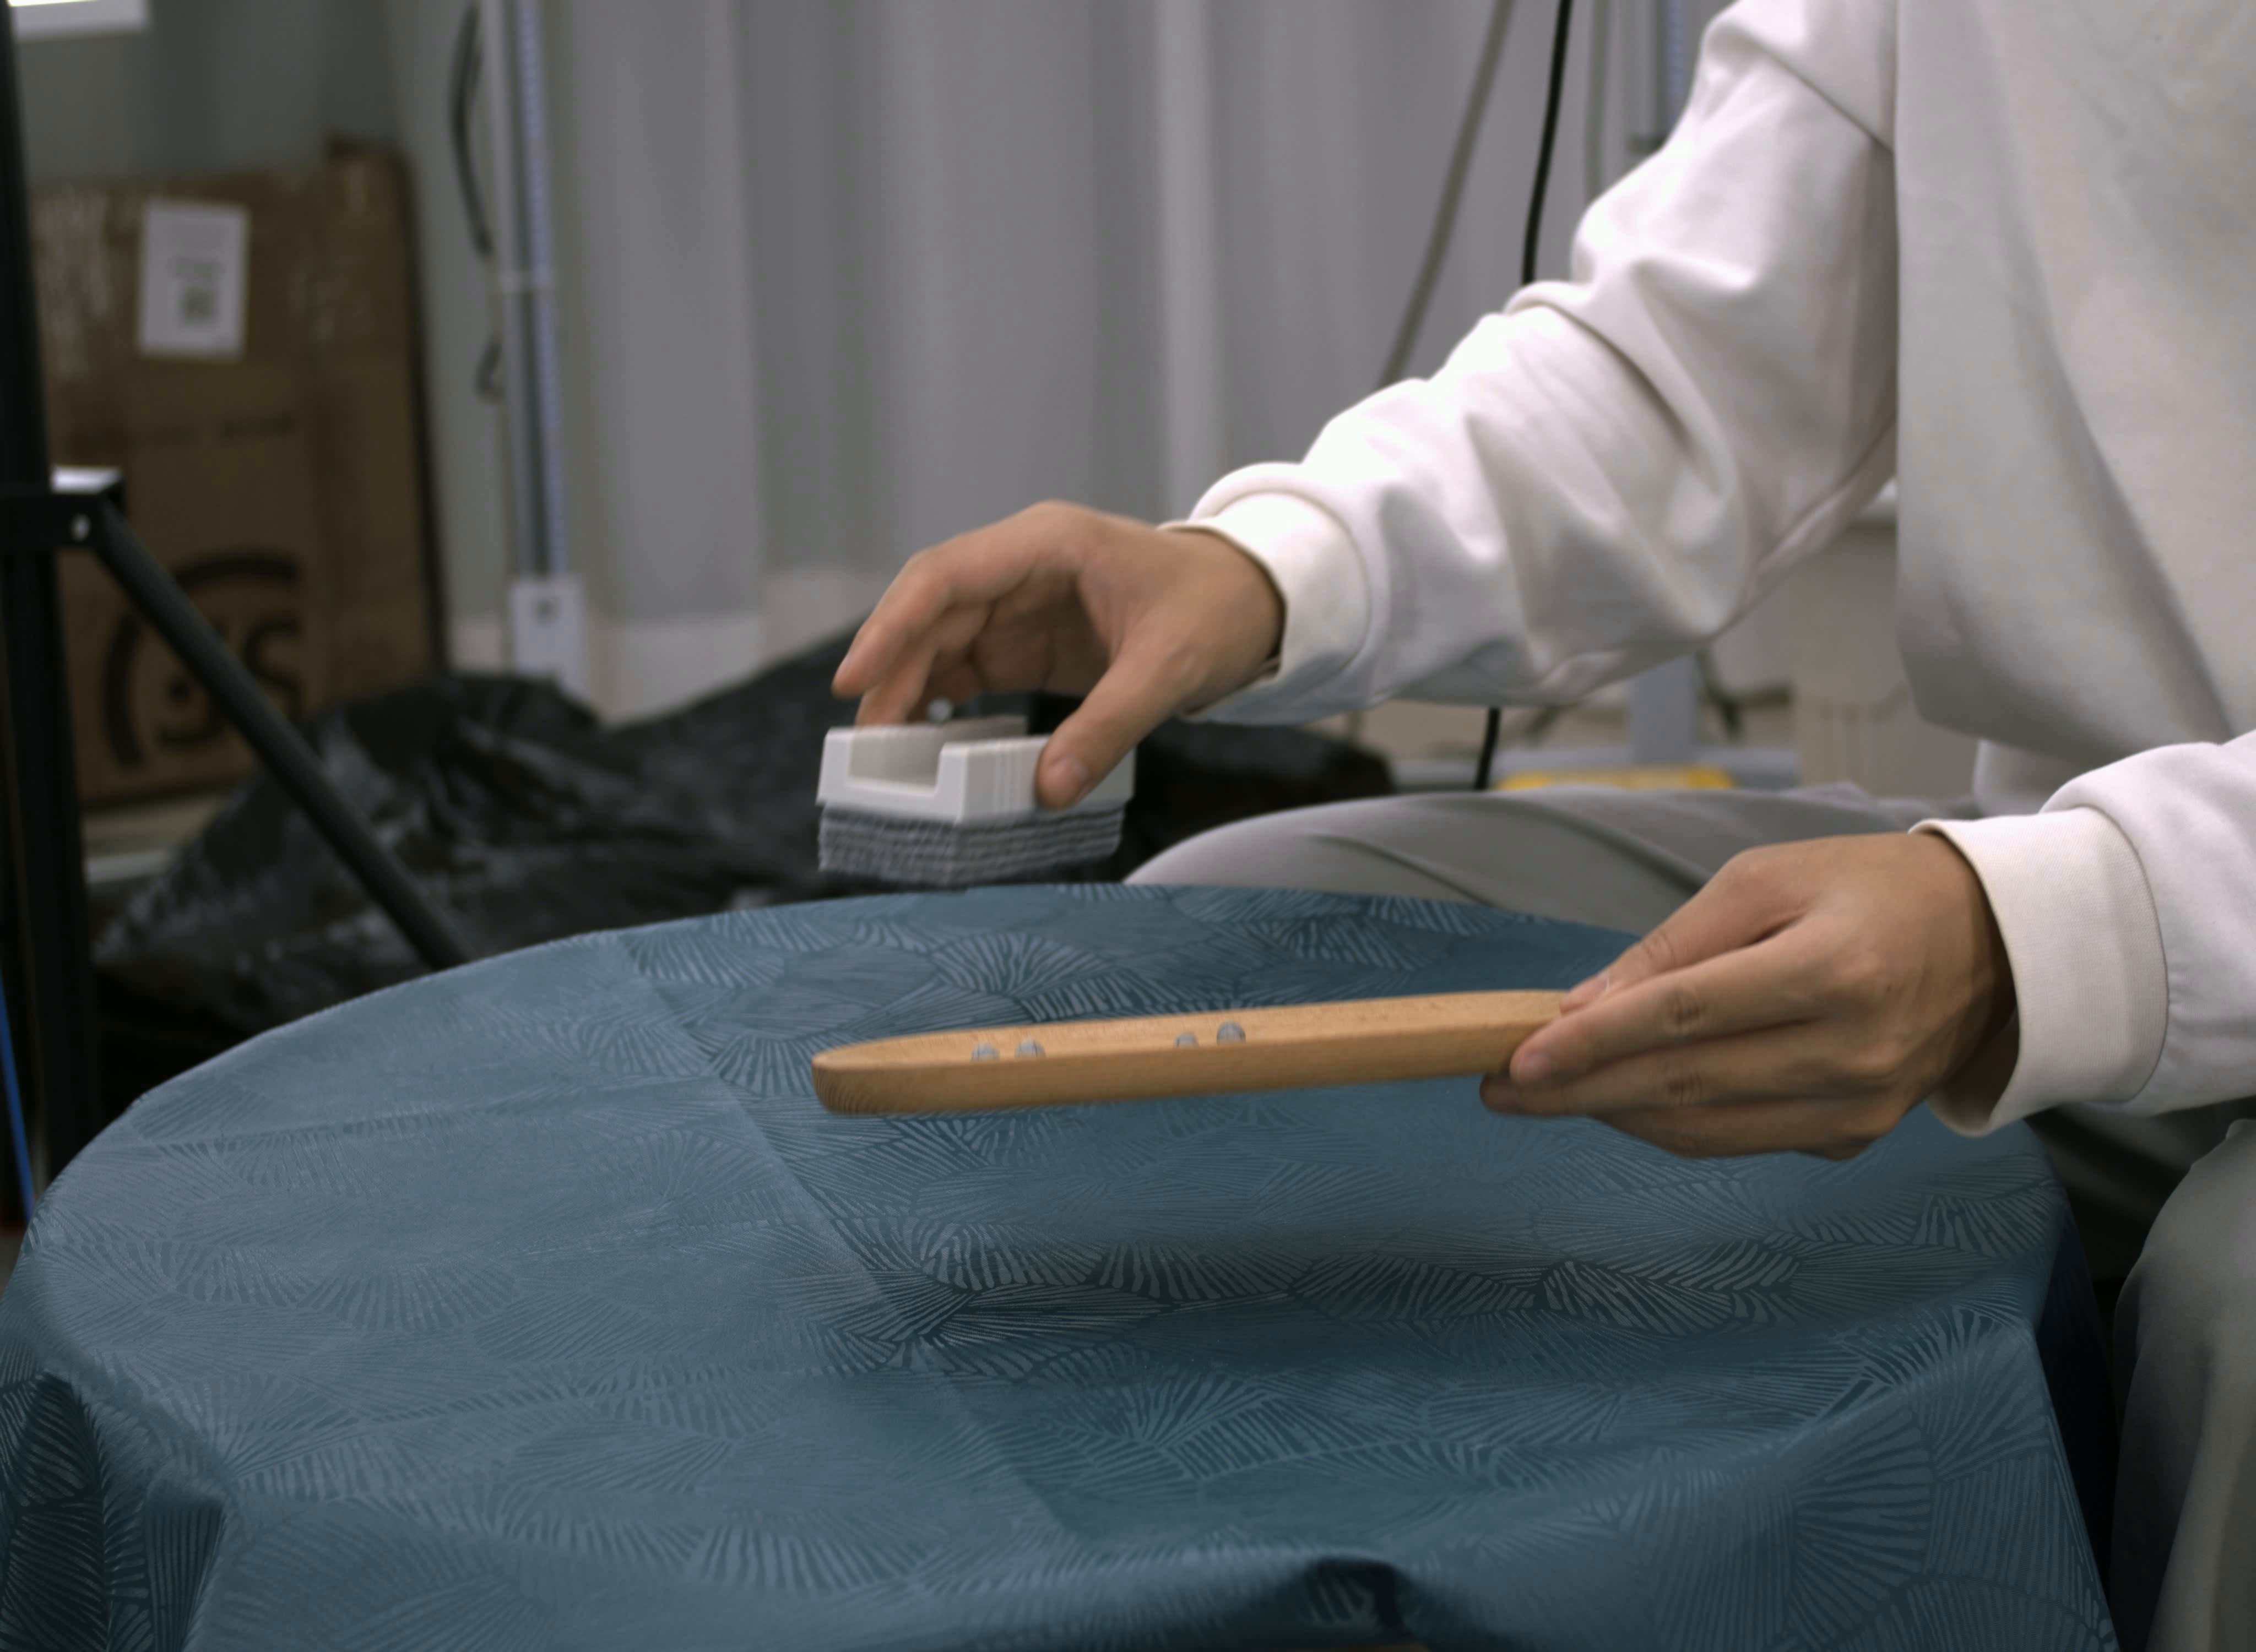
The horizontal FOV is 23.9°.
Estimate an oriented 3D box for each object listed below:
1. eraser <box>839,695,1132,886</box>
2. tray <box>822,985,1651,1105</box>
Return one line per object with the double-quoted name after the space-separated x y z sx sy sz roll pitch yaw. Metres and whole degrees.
-0.044 -0.012 1.691 0.050 0.047 0.132 11 8 19 "eraser"
0.031 0.061 1.469 0.229 0.020 0.102 -2 3 -4 "tray"
